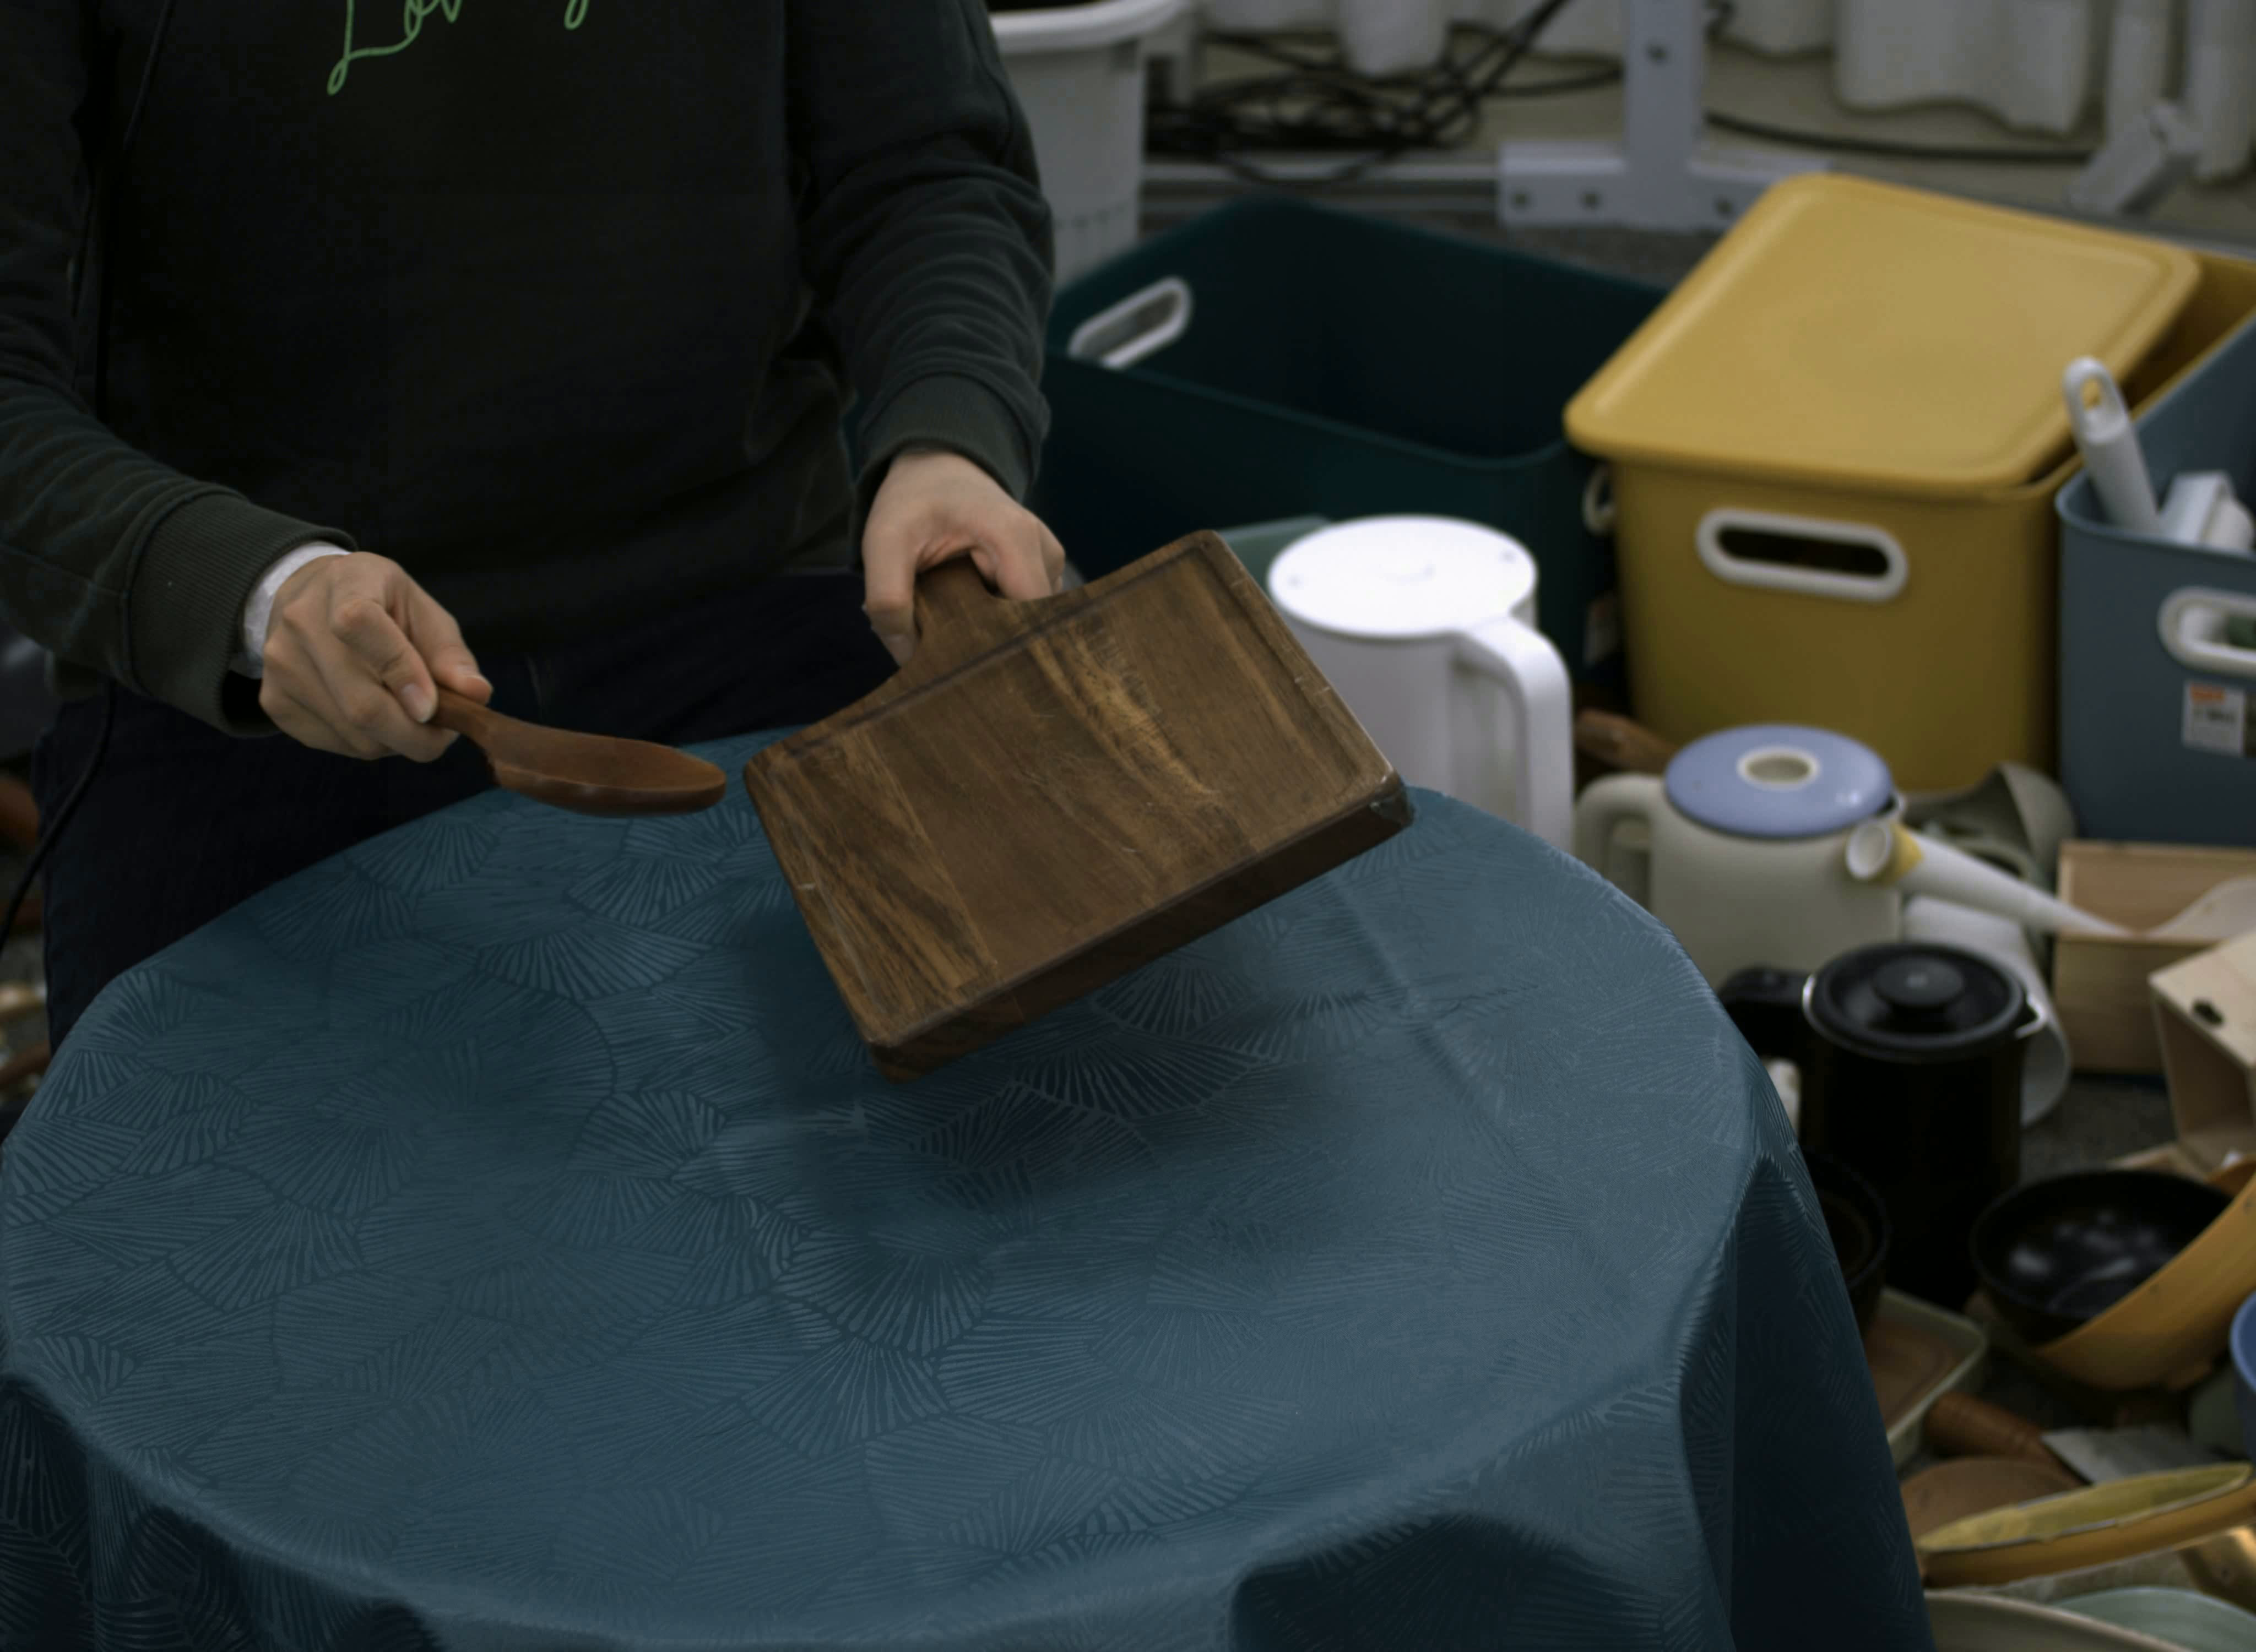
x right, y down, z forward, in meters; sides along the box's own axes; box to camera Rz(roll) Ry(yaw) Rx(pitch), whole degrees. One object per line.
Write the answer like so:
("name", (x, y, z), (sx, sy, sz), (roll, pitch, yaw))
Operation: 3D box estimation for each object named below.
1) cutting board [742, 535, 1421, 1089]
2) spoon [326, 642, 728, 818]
("cutting board", (-0.033, -0.029, 1.978), (0.201, 0.023, 0.355), (-27, 26, -3))
("spoon", (-0.208, -0.030, 1.874), (0.076, 0.017, 0.215), (-5, 17, -36))
